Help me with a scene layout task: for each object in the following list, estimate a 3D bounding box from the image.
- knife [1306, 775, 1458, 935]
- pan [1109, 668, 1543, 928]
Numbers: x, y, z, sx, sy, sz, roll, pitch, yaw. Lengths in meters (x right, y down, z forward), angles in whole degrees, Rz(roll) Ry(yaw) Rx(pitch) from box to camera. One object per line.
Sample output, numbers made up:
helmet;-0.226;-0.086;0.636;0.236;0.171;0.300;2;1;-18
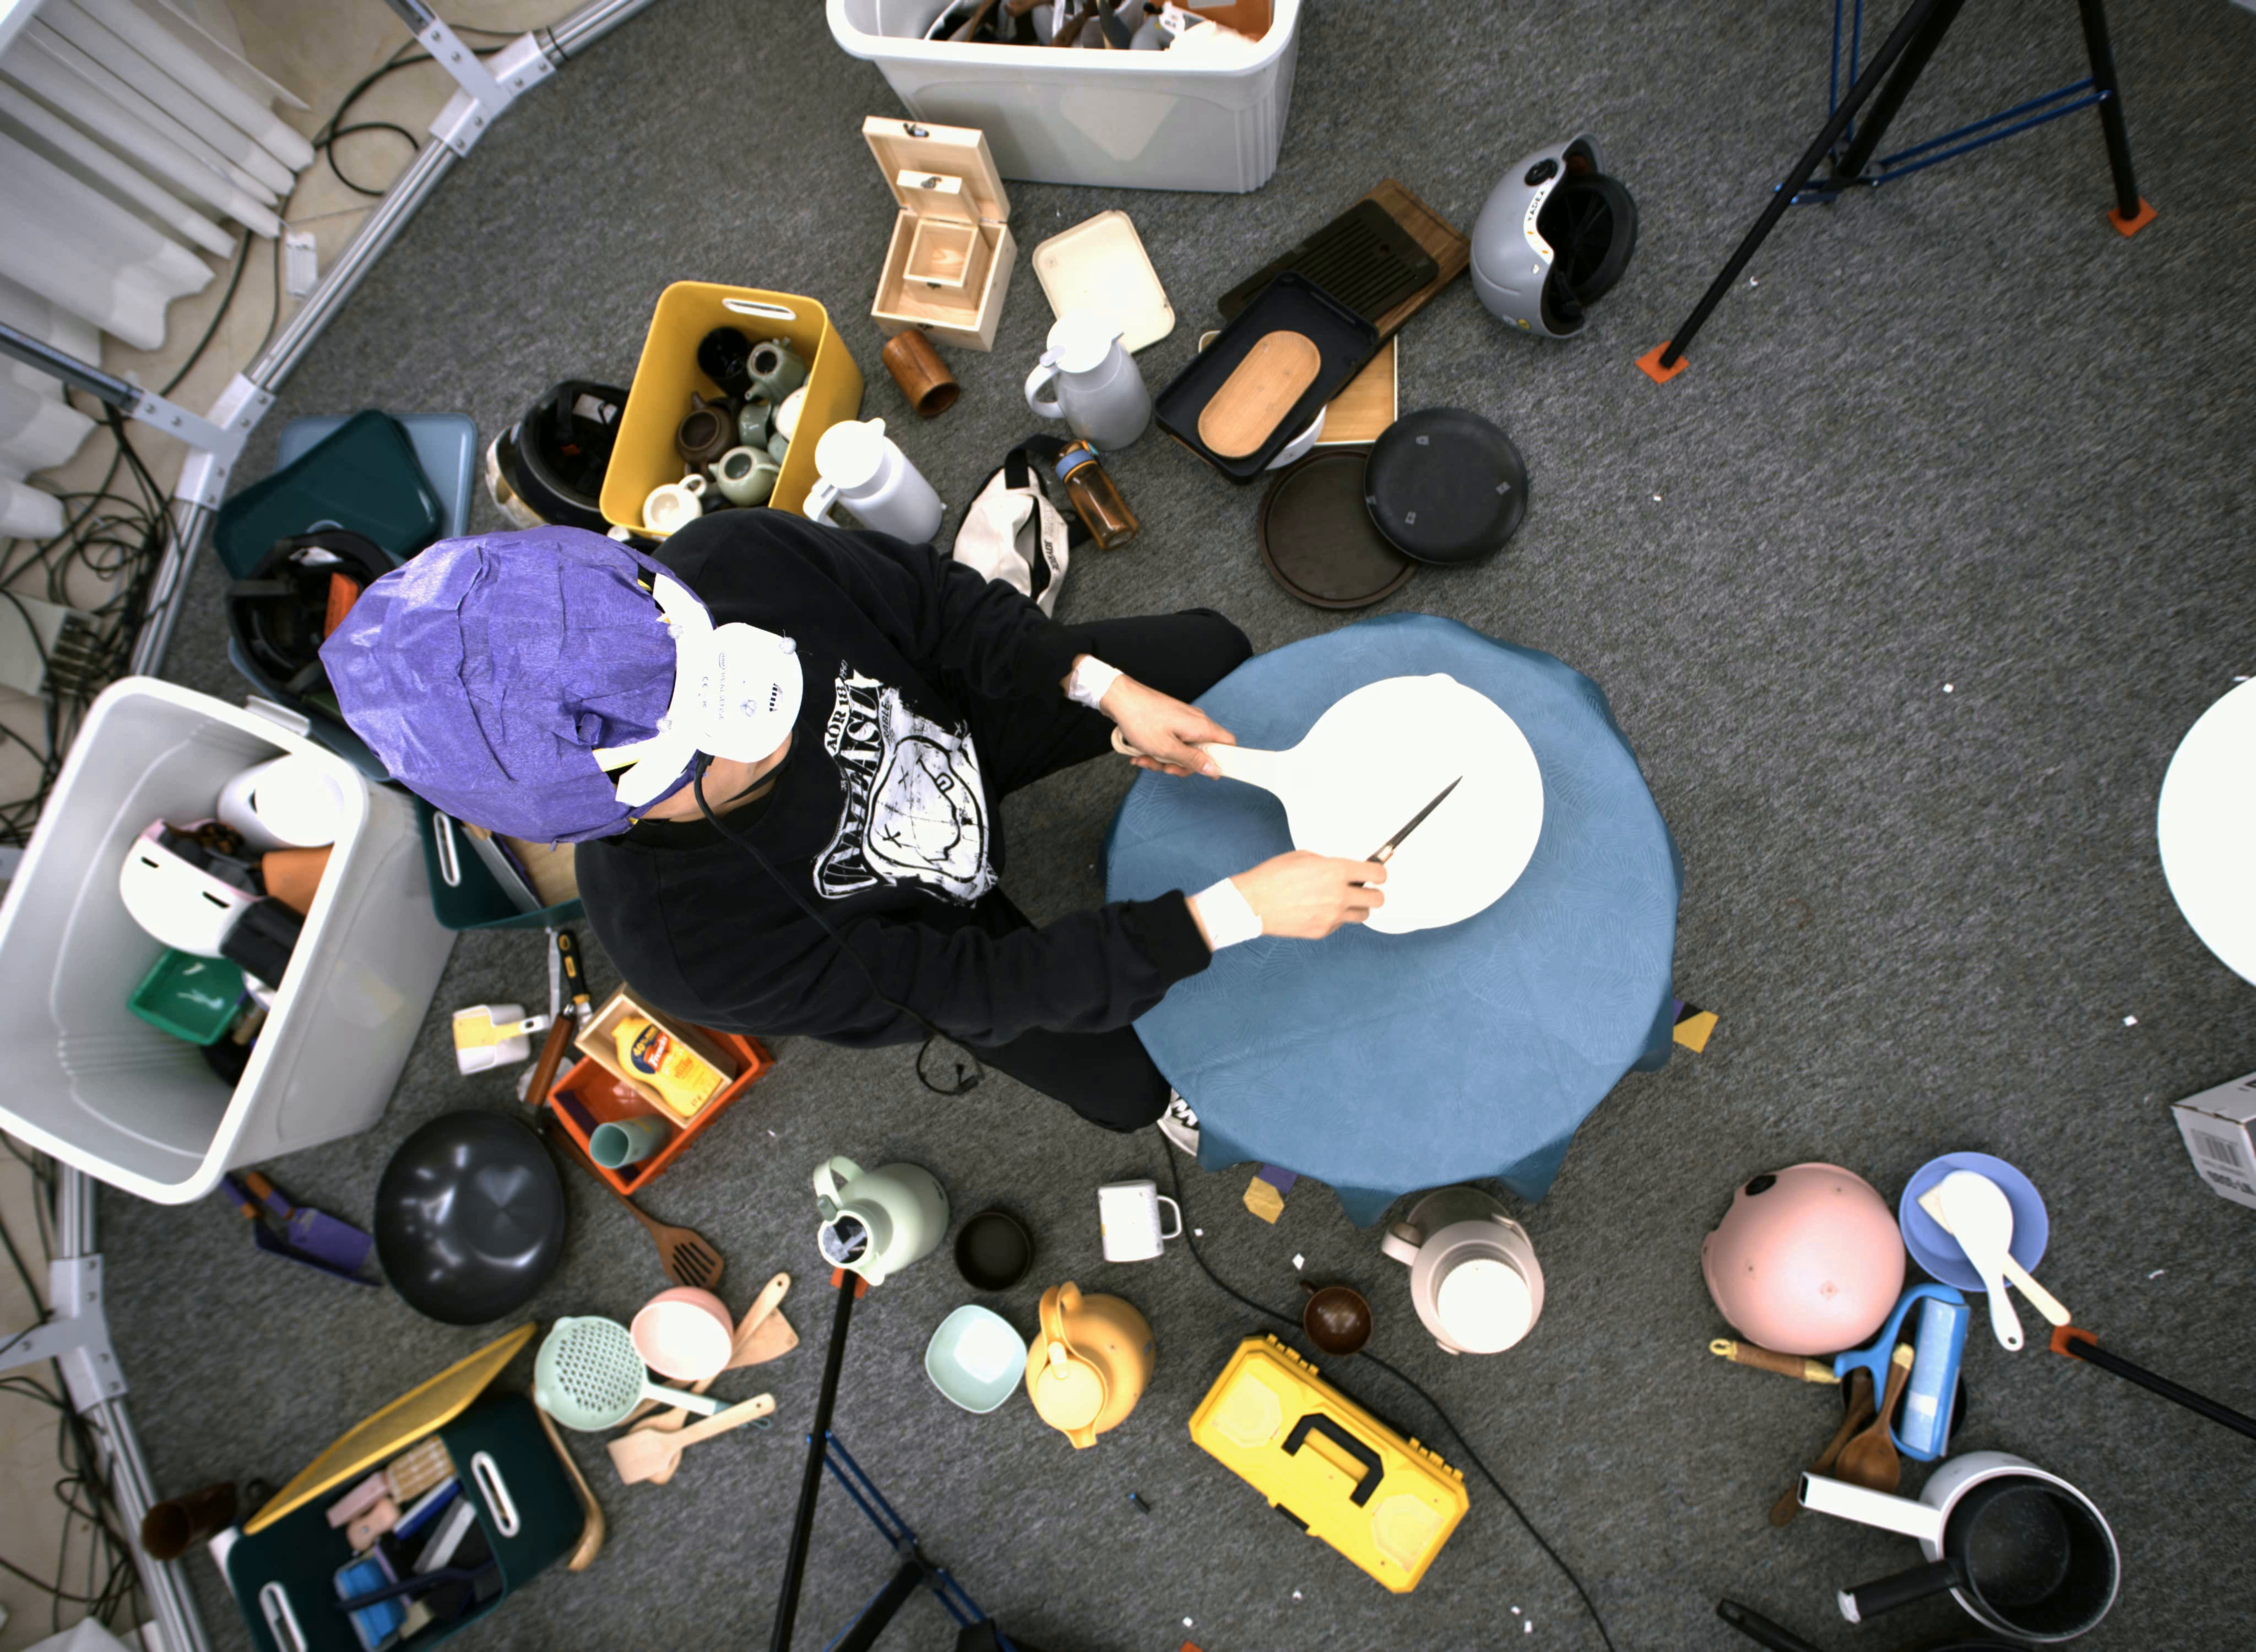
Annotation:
knife;0.254;0.024;1.358;0.224;0.026;0.017;-44;101;-8
pan;0.201;-0.050;1.415;0.435;0.101;0.265;12;100;10
